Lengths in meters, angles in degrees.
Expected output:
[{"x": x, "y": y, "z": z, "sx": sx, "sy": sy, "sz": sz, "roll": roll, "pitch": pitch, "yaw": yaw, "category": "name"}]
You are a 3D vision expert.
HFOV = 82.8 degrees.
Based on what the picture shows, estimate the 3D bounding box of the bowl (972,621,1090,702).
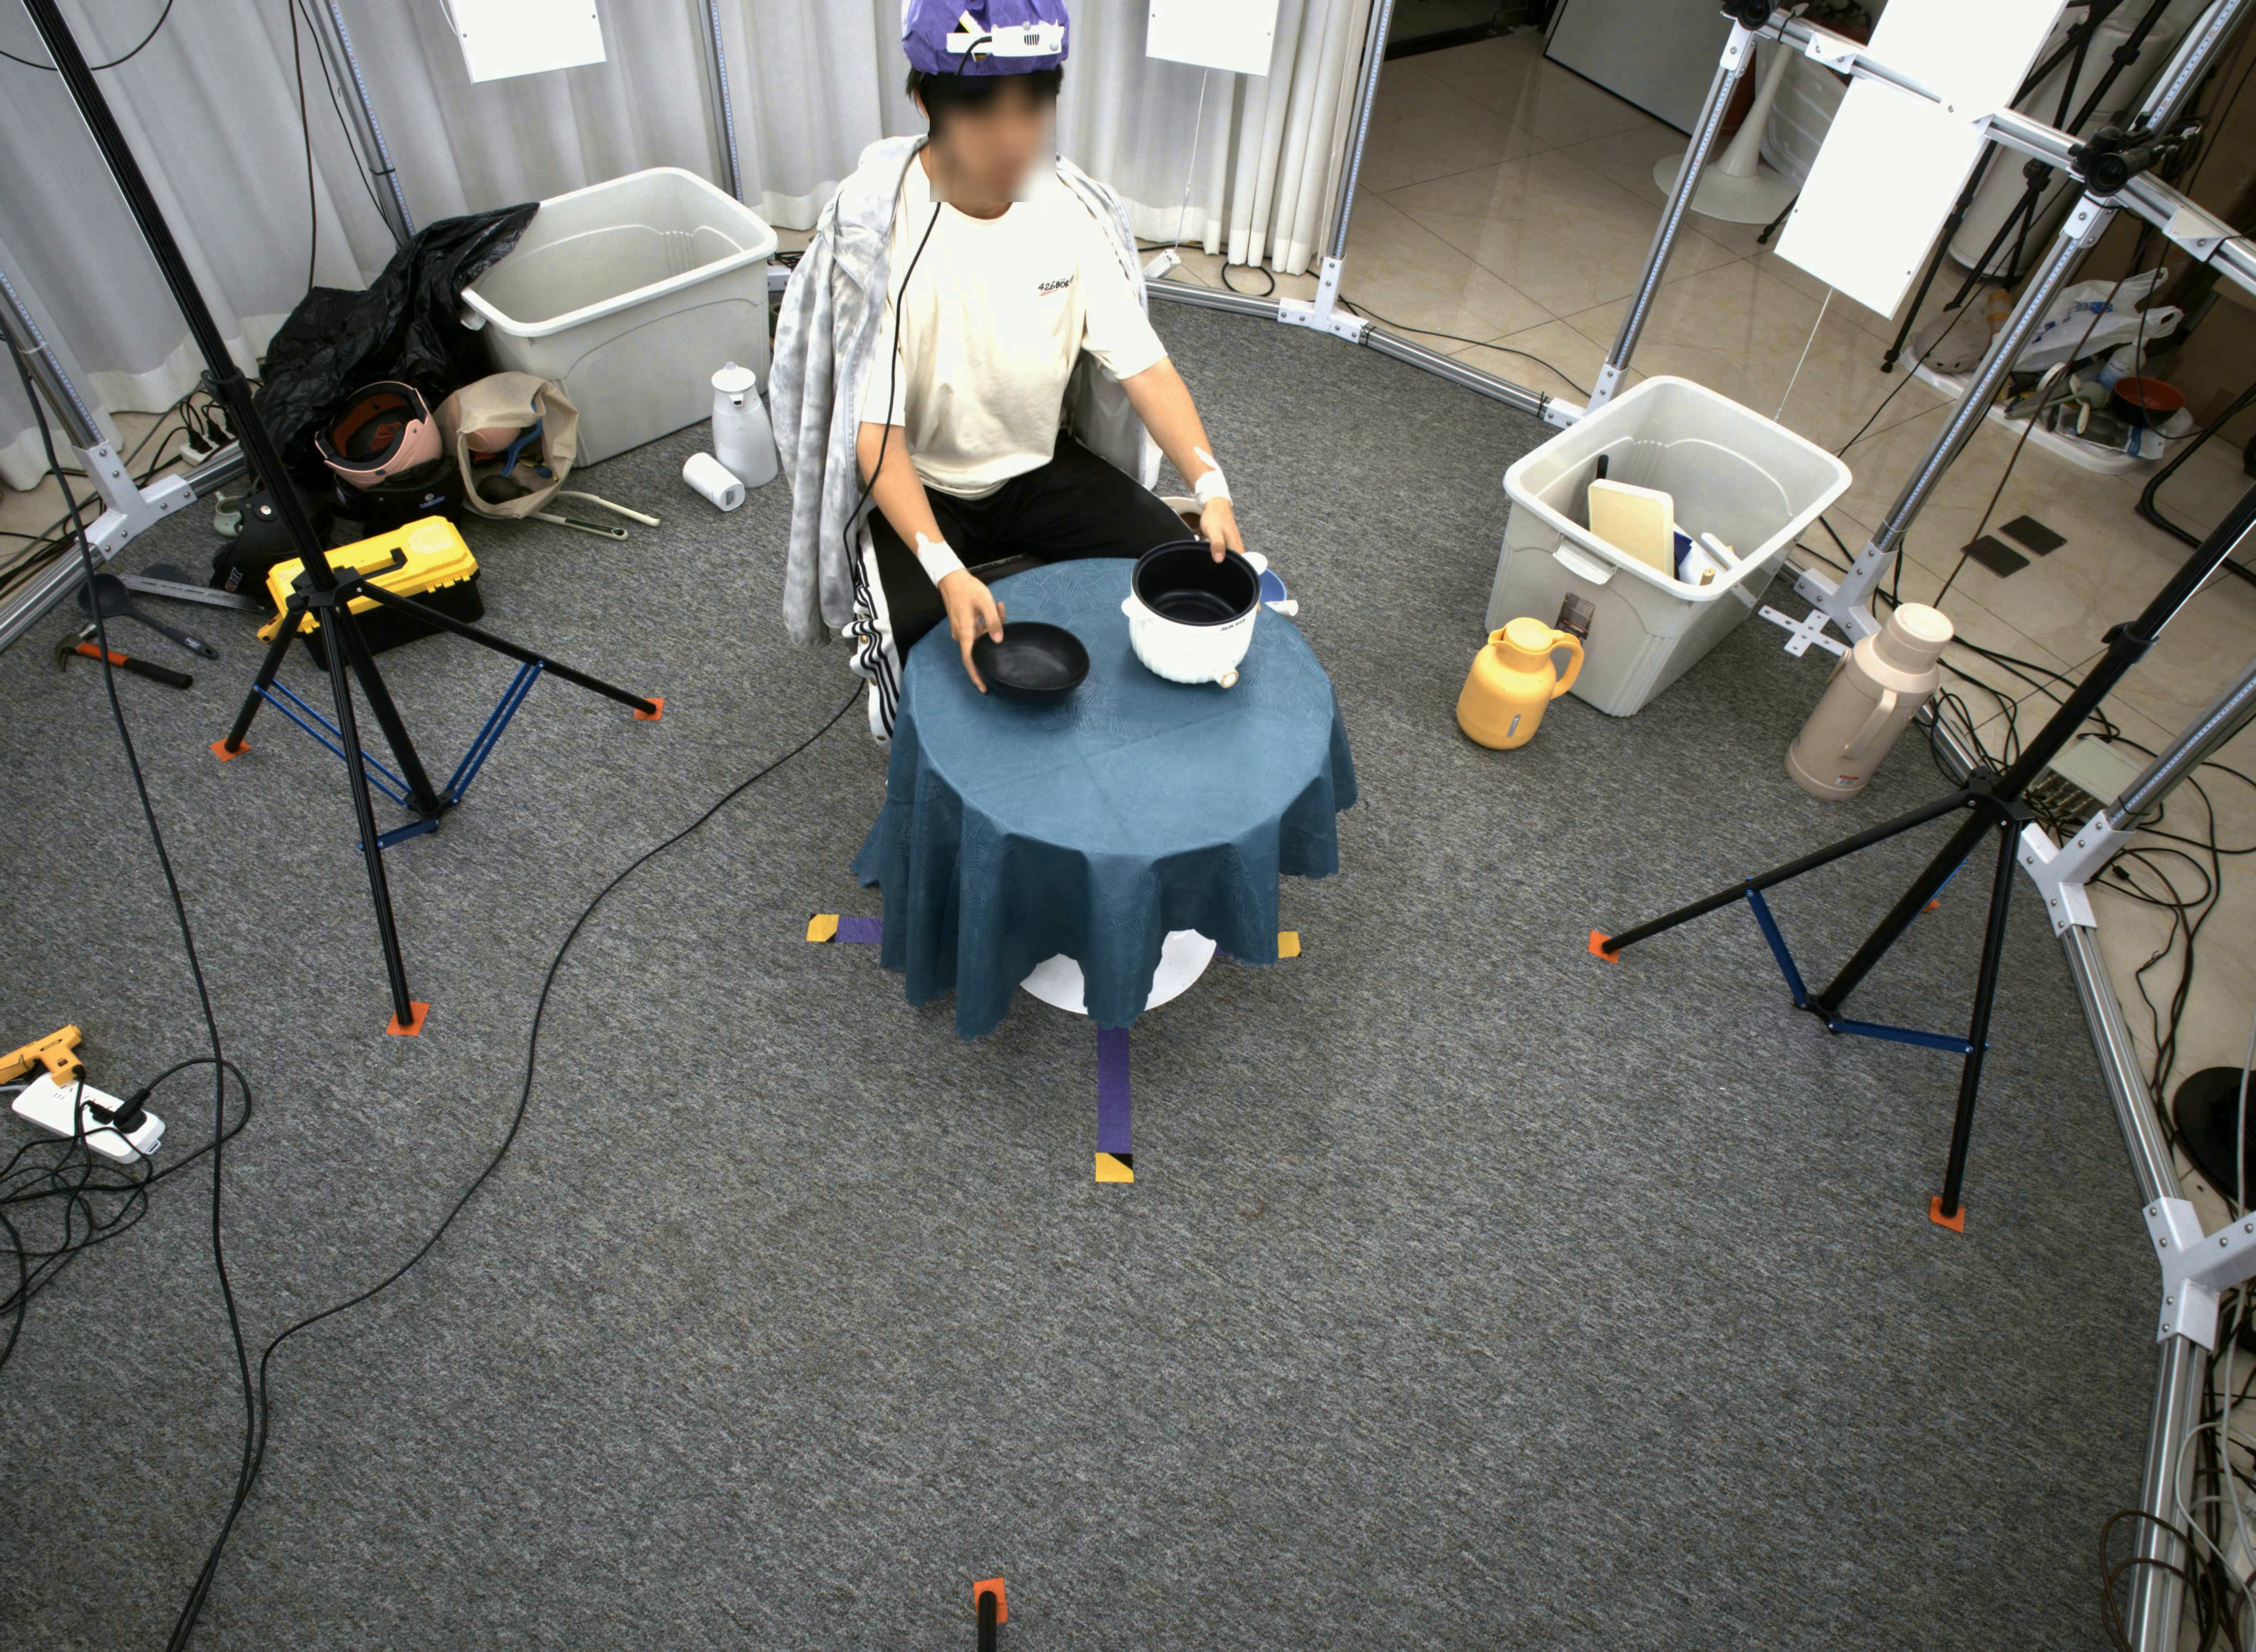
[{"x": -0.137, "y": -0.219, "z": 1.801, "sx": 0.171, "sy": 0.065, "sz": 0.140, "roll": 16, "pitch": 48, "yaw": 11, "category": "bowl"}]

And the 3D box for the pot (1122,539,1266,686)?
[{"x": 0.096, "y": -0.298, "z": 1.837, "sx": 0.241, "sy": 0.139, "sz": 0.194, "roll": -26, "pitch": 52, "yaw": -23, "category": "pot"}]
